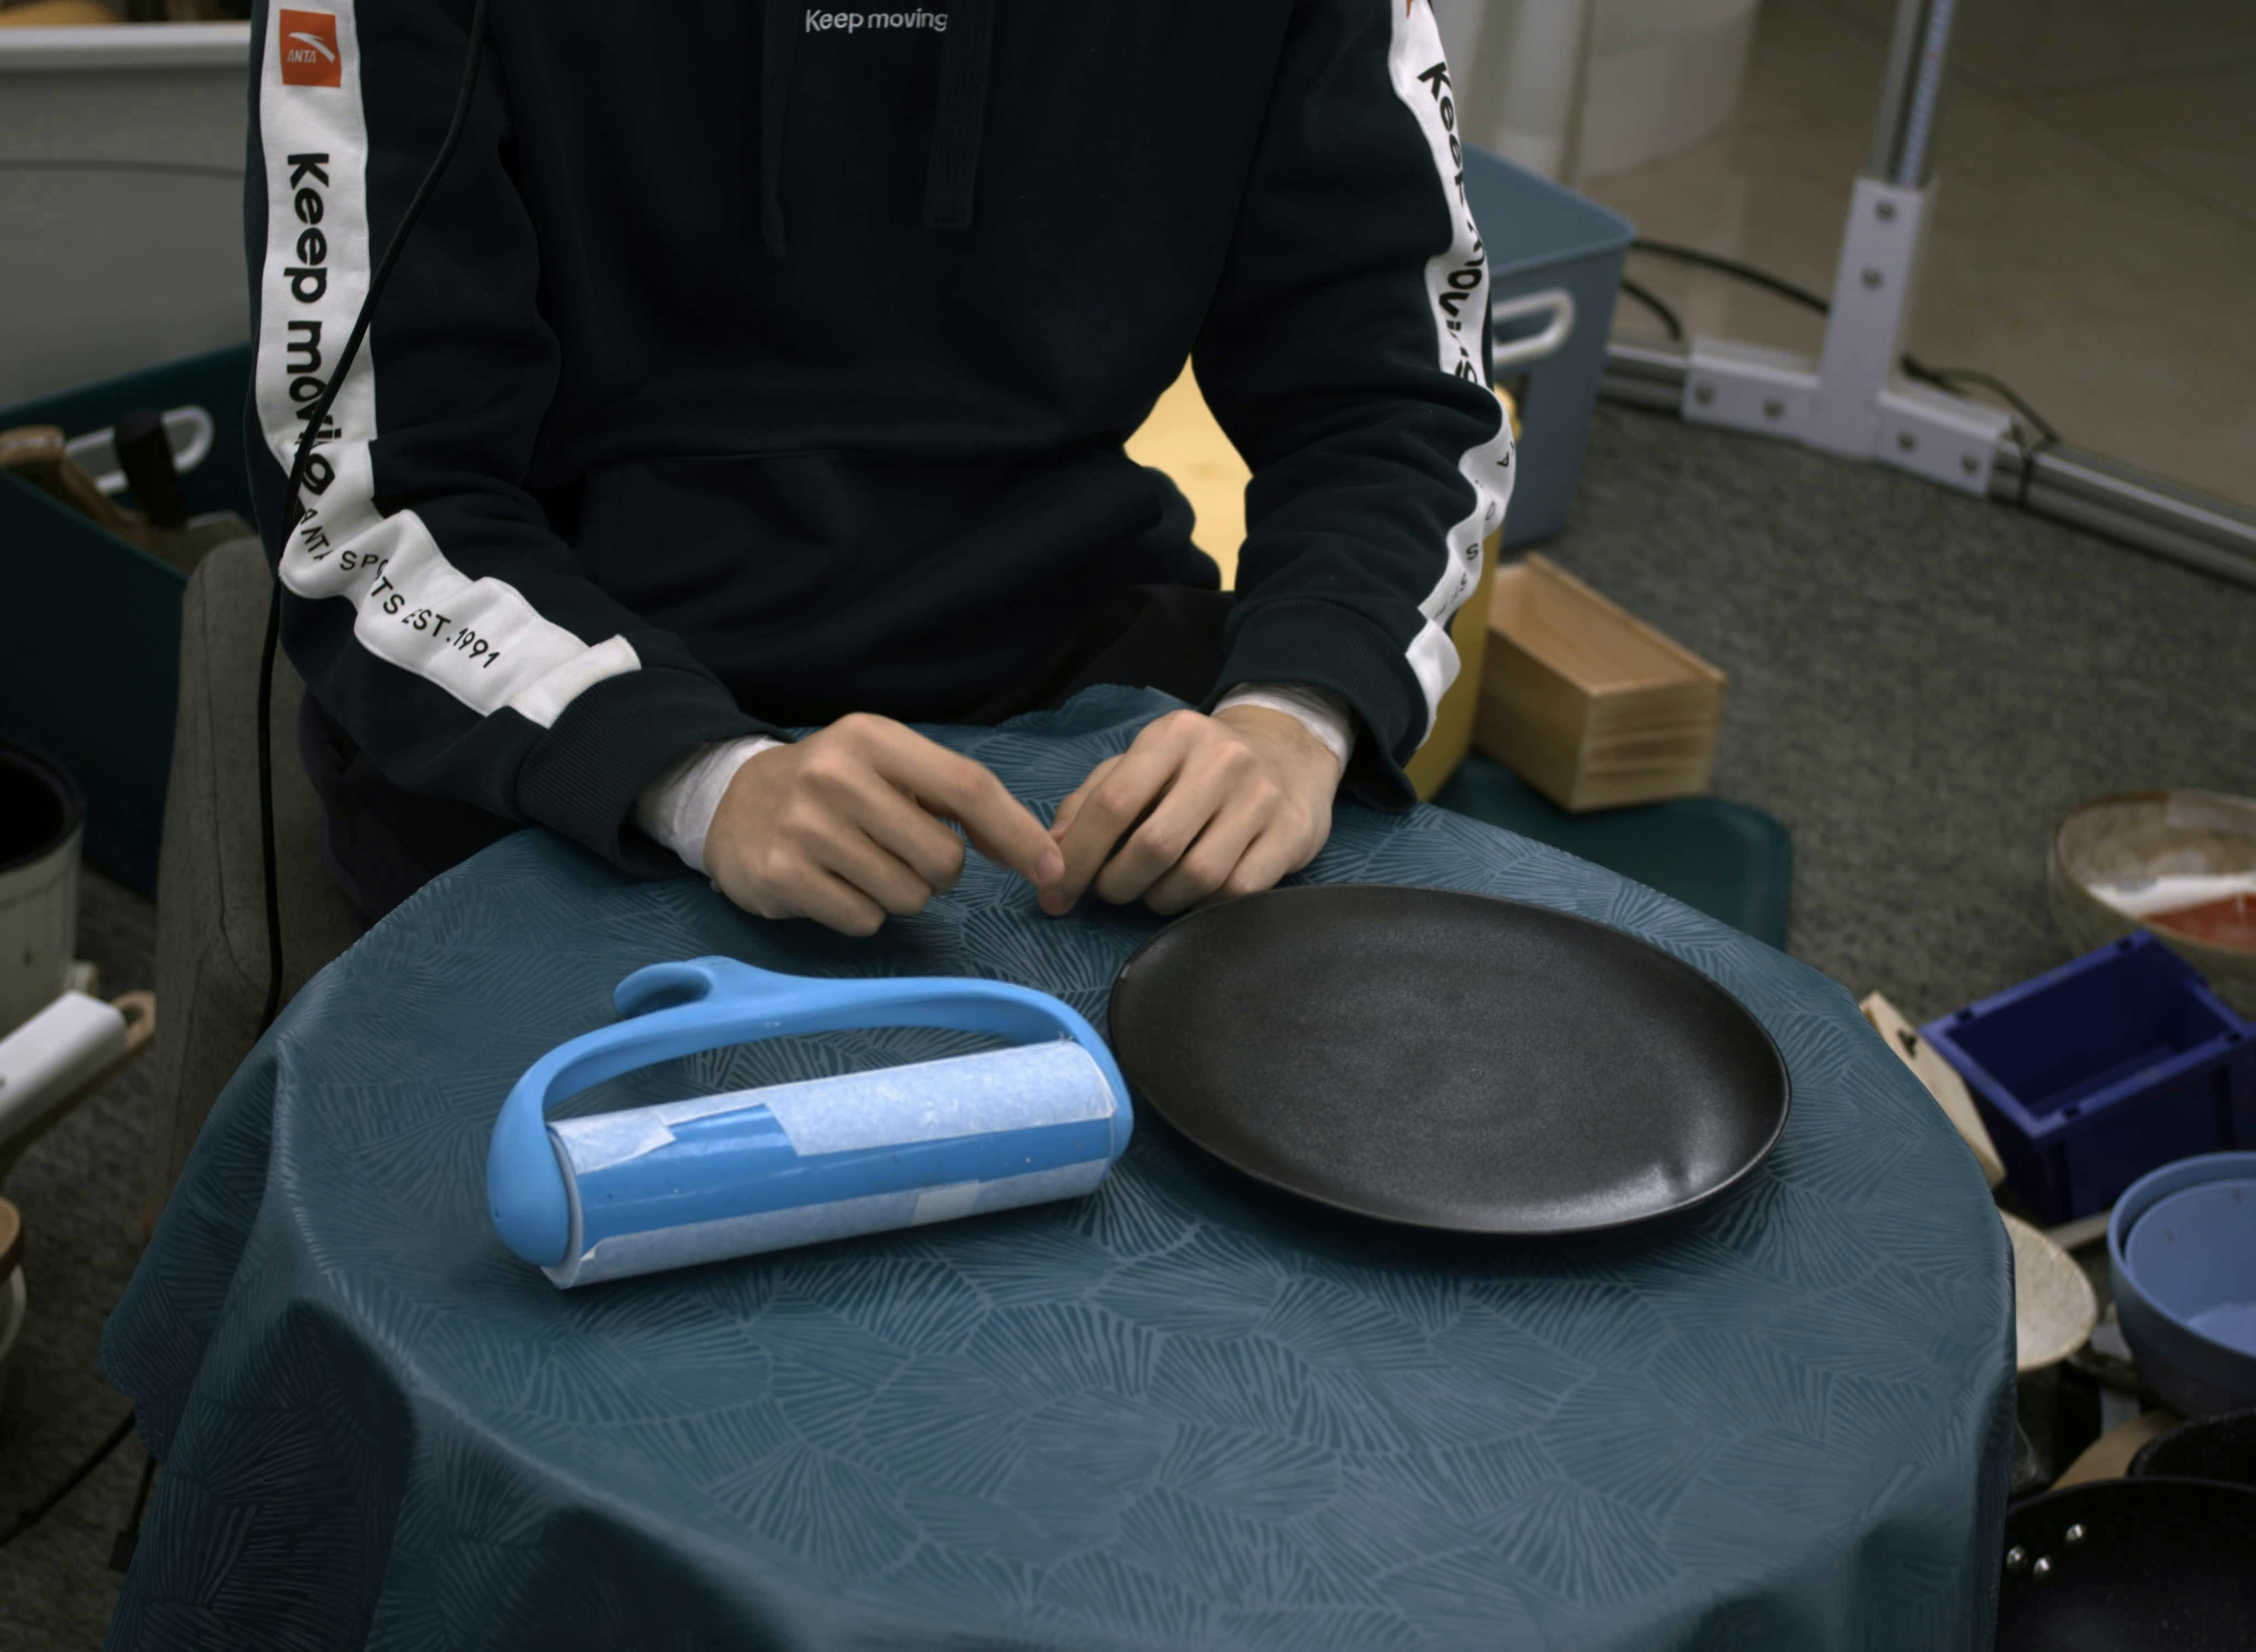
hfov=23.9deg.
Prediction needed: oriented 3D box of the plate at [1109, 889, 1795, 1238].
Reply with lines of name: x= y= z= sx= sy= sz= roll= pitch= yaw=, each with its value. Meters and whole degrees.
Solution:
plate: x=0.113 y=0.087 z=1.871 sx=0.243 sy=0.023 sz=0.246 roll=5 pitch=26 yaw=-3

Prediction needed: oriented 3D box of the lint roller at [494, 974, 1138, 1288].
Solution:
lint roller: x=-0.129 y=0.083 z=1.787 sx=0.227 sy=0.068 sz=0.182 roll=-10 pitch=30 yaw=-29
